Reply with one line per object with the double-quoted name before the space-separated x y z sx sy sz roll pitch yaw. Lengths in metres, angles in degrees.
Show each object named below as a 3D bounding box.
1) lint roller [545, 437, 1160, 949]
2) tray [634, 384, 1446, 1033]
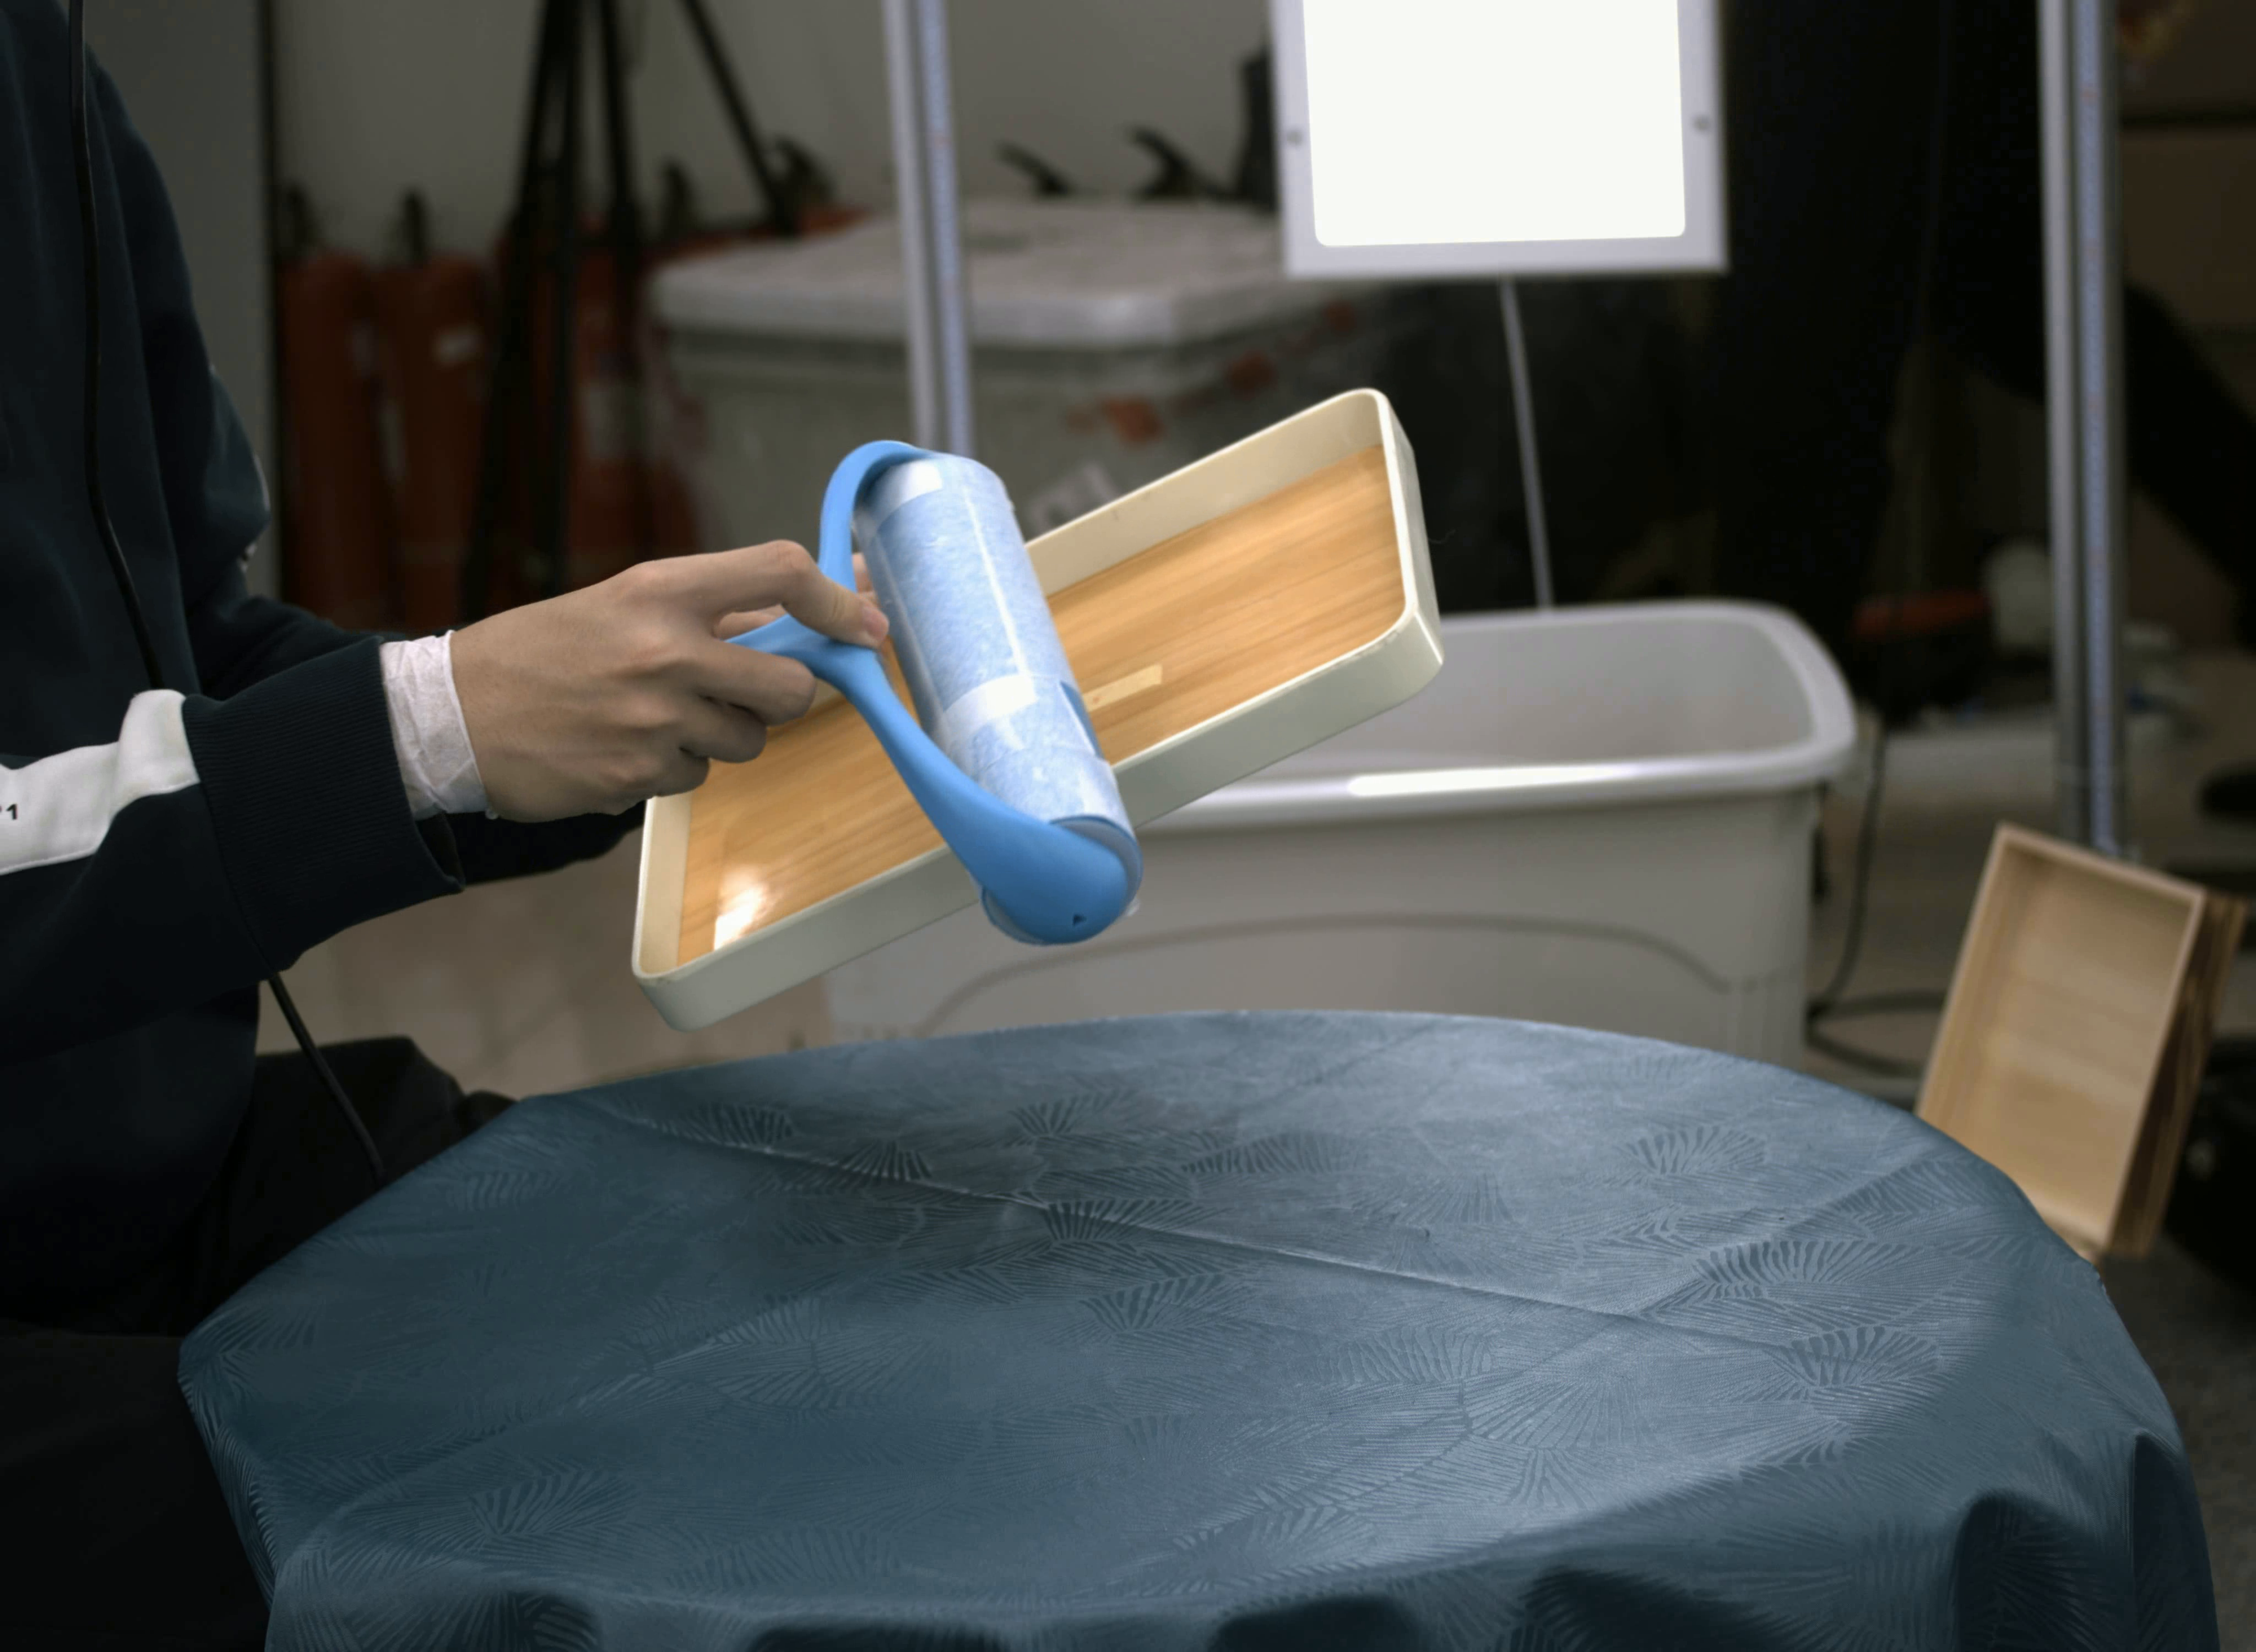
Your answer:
"lint roller" -0.099 -0.038 1.788 0.177 0.068 0.230 -8 45 -17
"tray" -0.033 -0.042 1.908 0.303 0.027 0.191 -25 28 15
